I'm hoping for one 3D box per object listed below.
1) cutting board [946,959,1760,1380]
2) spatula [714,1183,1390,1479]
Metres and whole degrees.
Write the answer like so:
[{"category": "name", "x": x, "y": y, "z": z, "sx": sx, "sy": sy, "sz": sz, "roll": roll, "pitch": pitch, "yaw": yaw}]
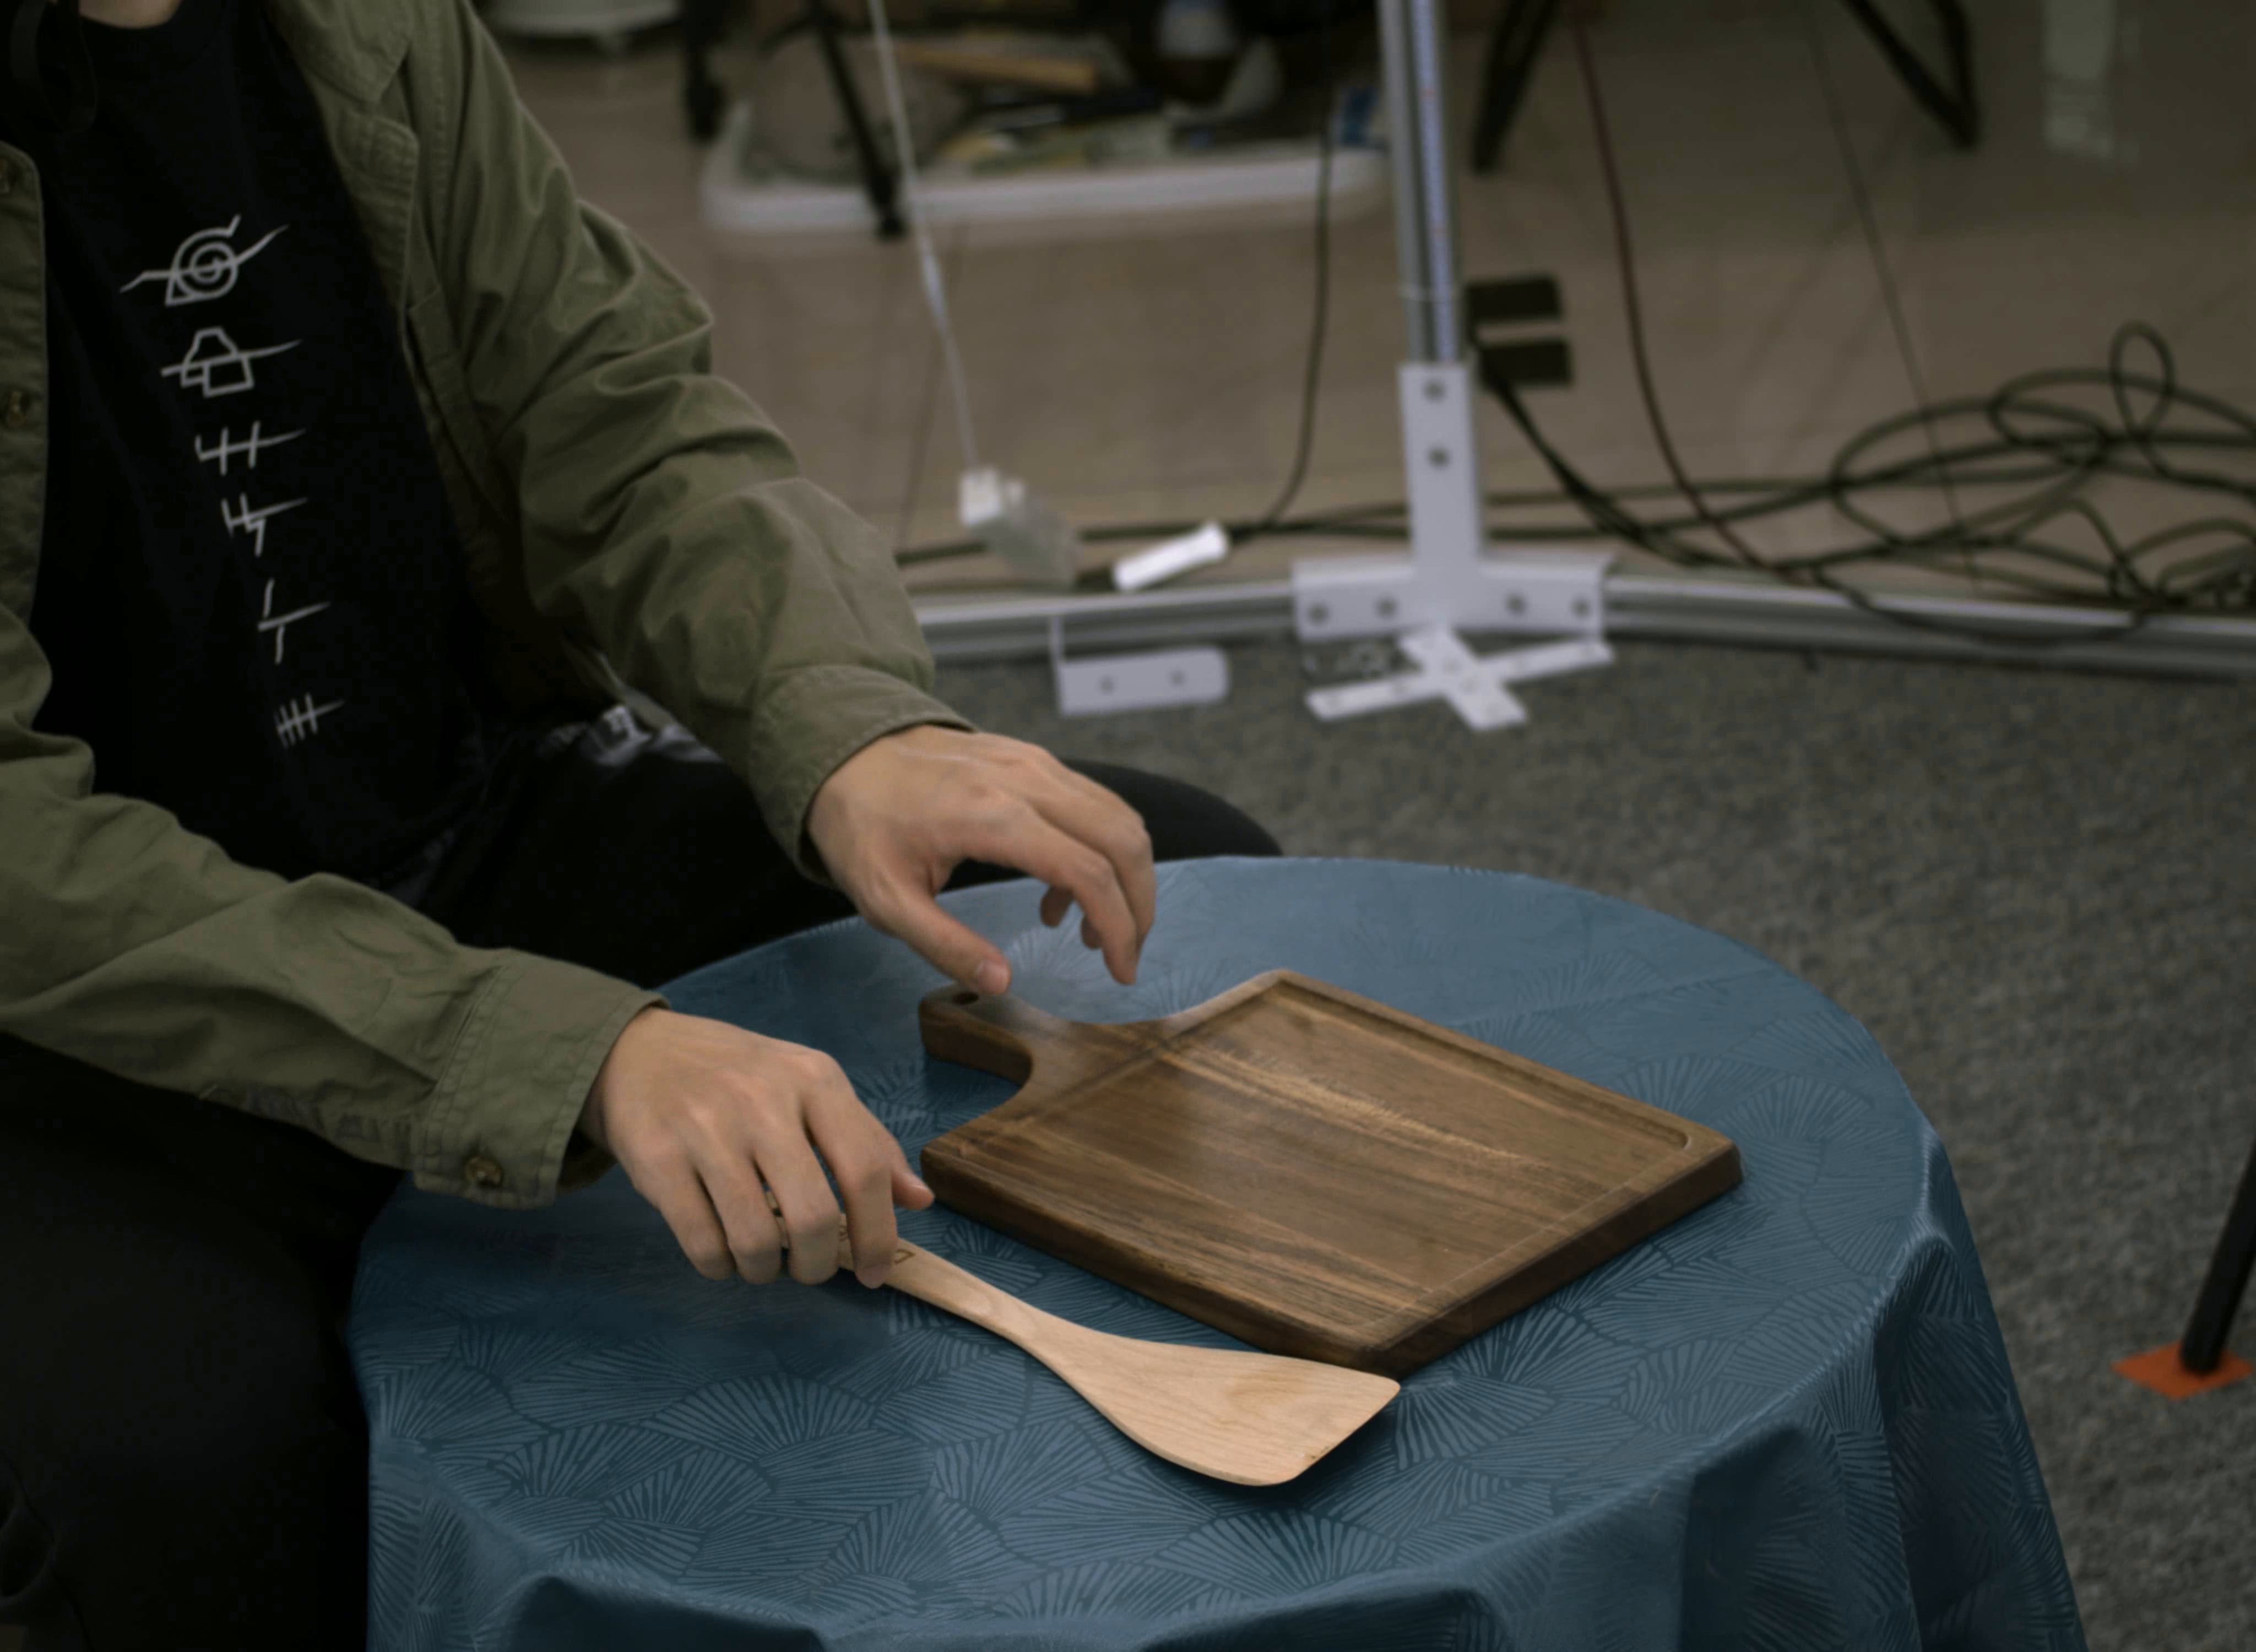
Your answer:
[{"category": "cutting board", "x": 0.051, "y": 0.112, "z": 2.172, "sx": 0.199, "sy": 0.023, "sz": 0.349, "roll": -25, "pitch": 31, "yaw": -34}, {"category": "spatula", "x": -0.038, "y": 0.176, "z": 2.063, "sx": 0.325, "sy": 0.017, "sz": 0.079, "roll": 19, "pitch": 35, "yaw": 42}]
